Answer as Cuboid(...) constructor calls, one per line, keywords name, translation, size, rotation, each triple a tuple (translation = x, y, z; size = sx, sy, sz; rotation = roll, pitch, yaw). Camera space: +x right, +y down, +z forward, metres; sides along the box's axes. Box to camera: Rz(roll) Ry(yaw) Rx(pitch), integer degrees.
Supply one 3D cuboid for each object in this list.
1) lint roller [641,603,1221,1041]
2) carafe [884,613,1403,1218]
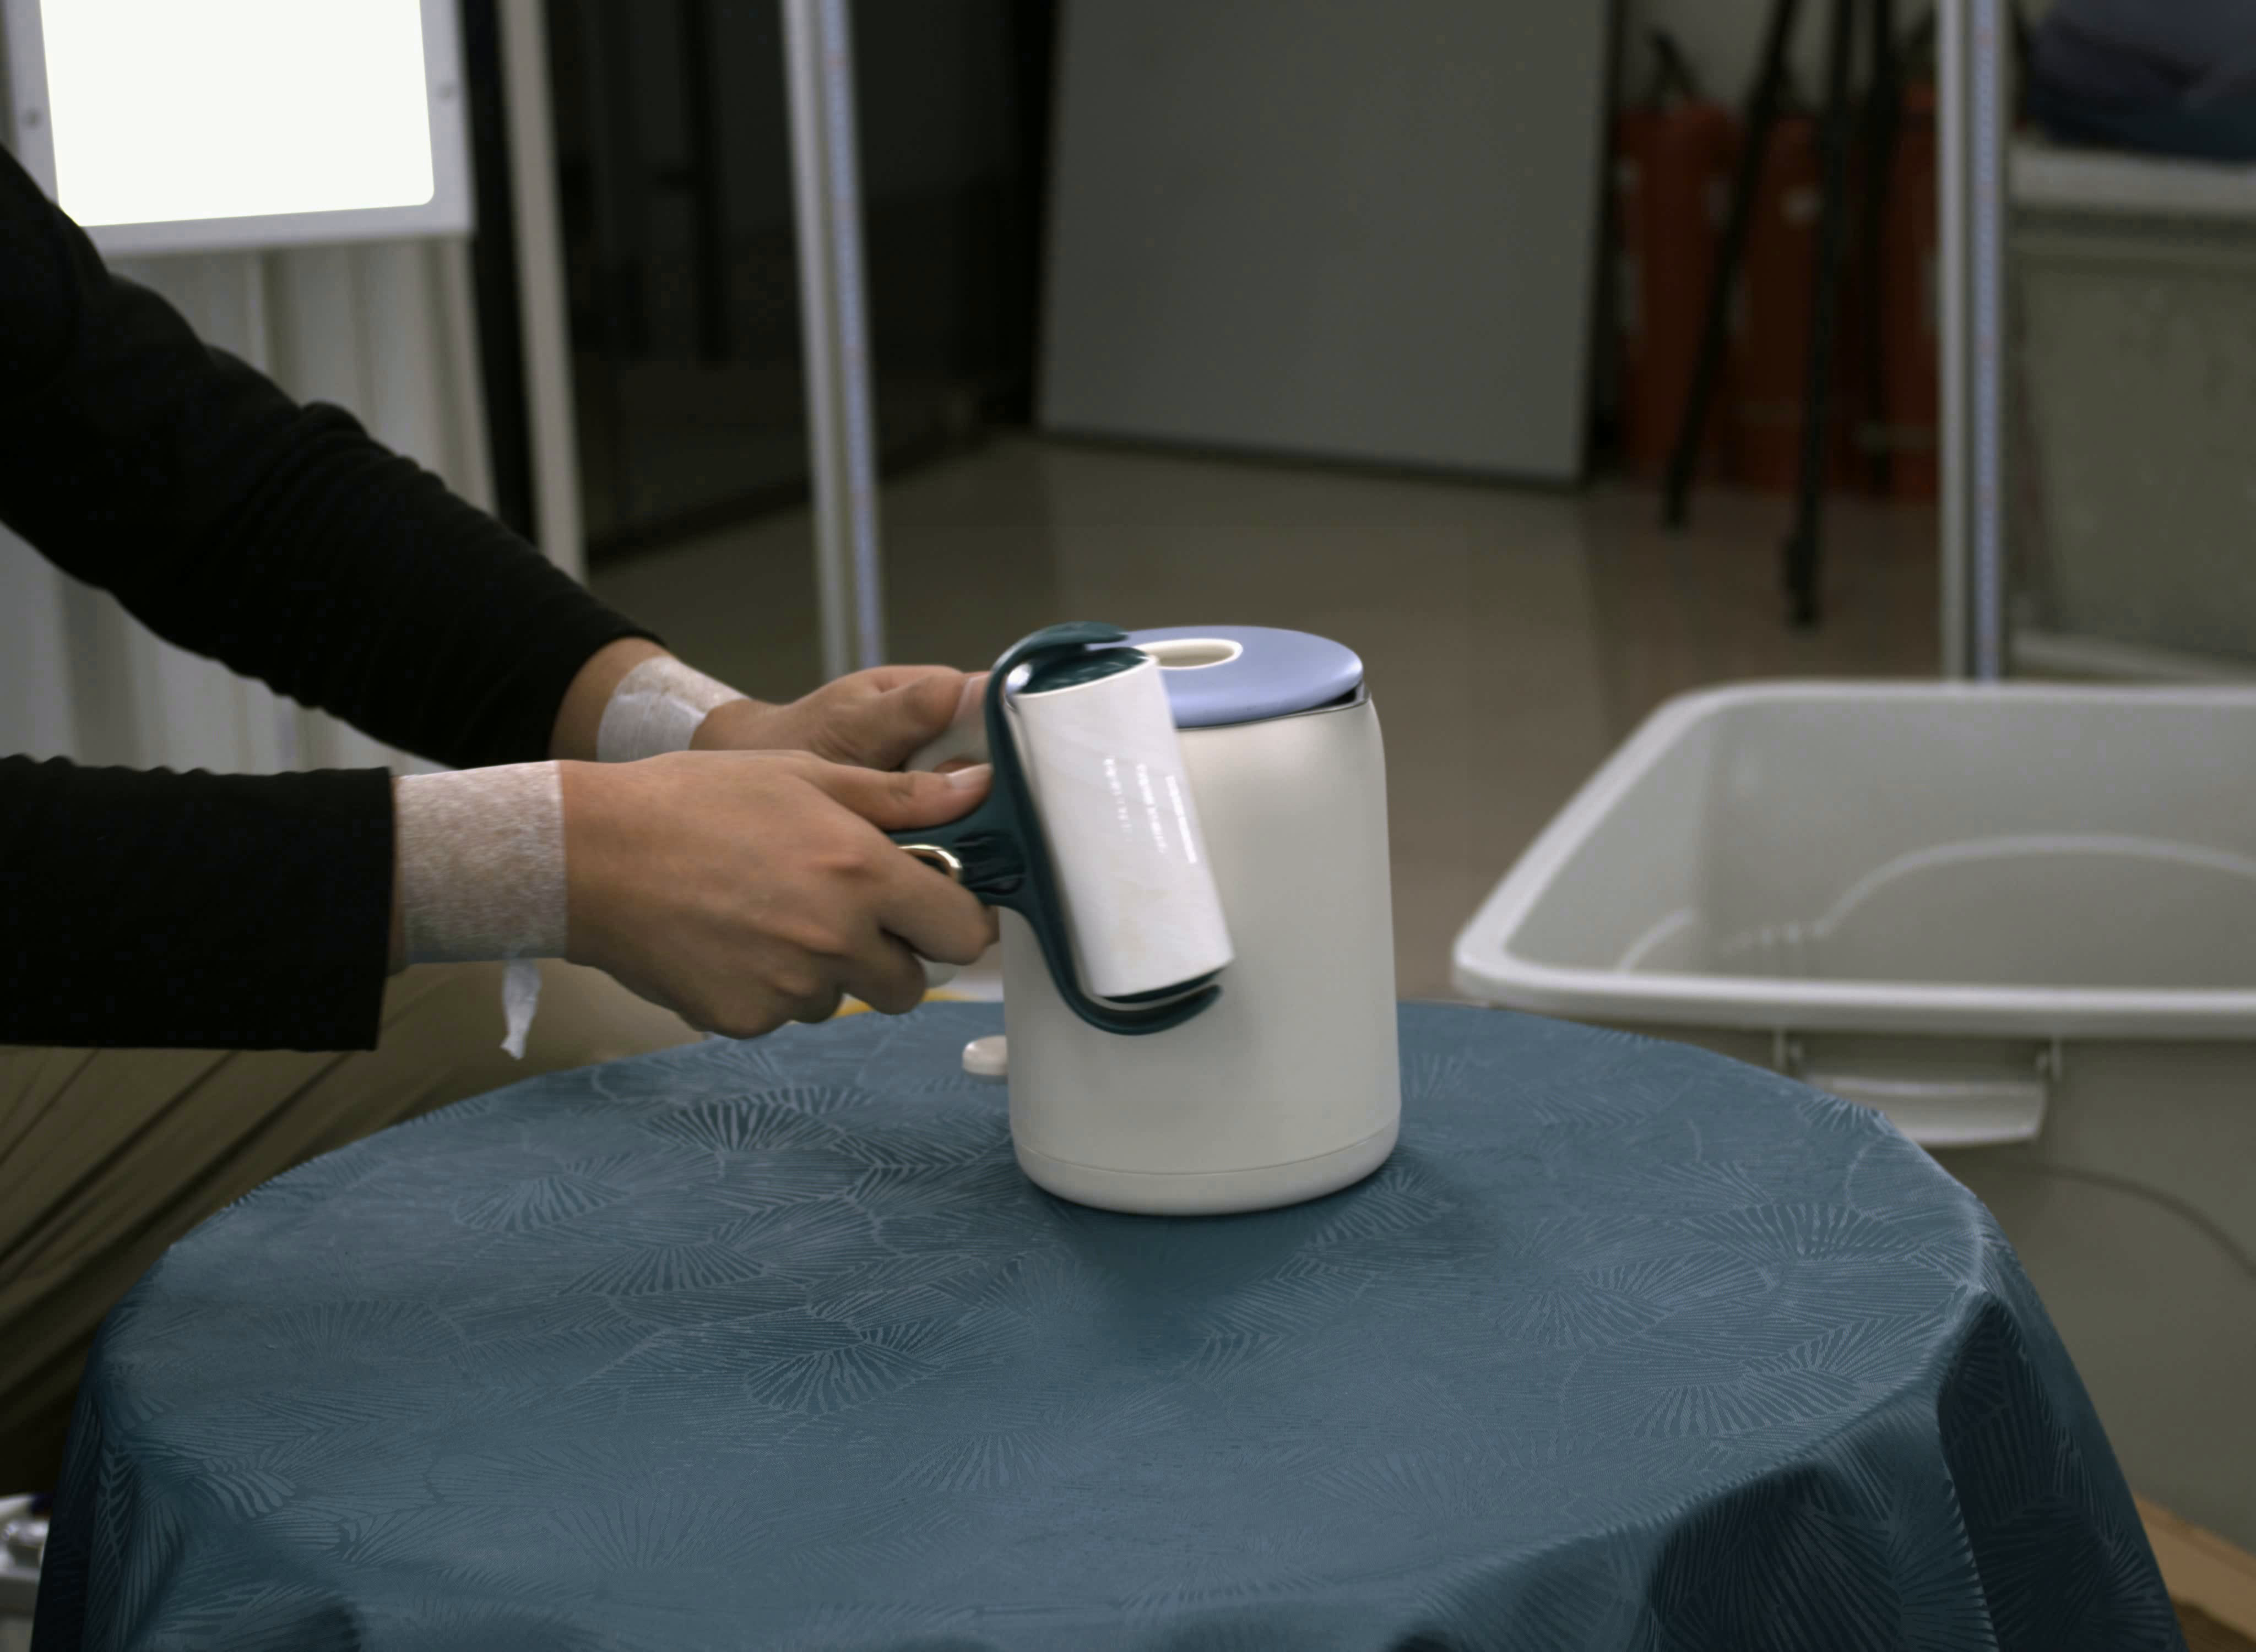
Cuboid(name="lint roller", translation=(-0.069, 0.016, 1.688), size=(0.178, 0.135, 0.048), rotation=(-15, 7, 5))
Cuboid(name="carafe", translation=(0.001, 0.028, 1.787), size=(0.192, 0.184, 0.130), rotation=(2, 14, 31))
